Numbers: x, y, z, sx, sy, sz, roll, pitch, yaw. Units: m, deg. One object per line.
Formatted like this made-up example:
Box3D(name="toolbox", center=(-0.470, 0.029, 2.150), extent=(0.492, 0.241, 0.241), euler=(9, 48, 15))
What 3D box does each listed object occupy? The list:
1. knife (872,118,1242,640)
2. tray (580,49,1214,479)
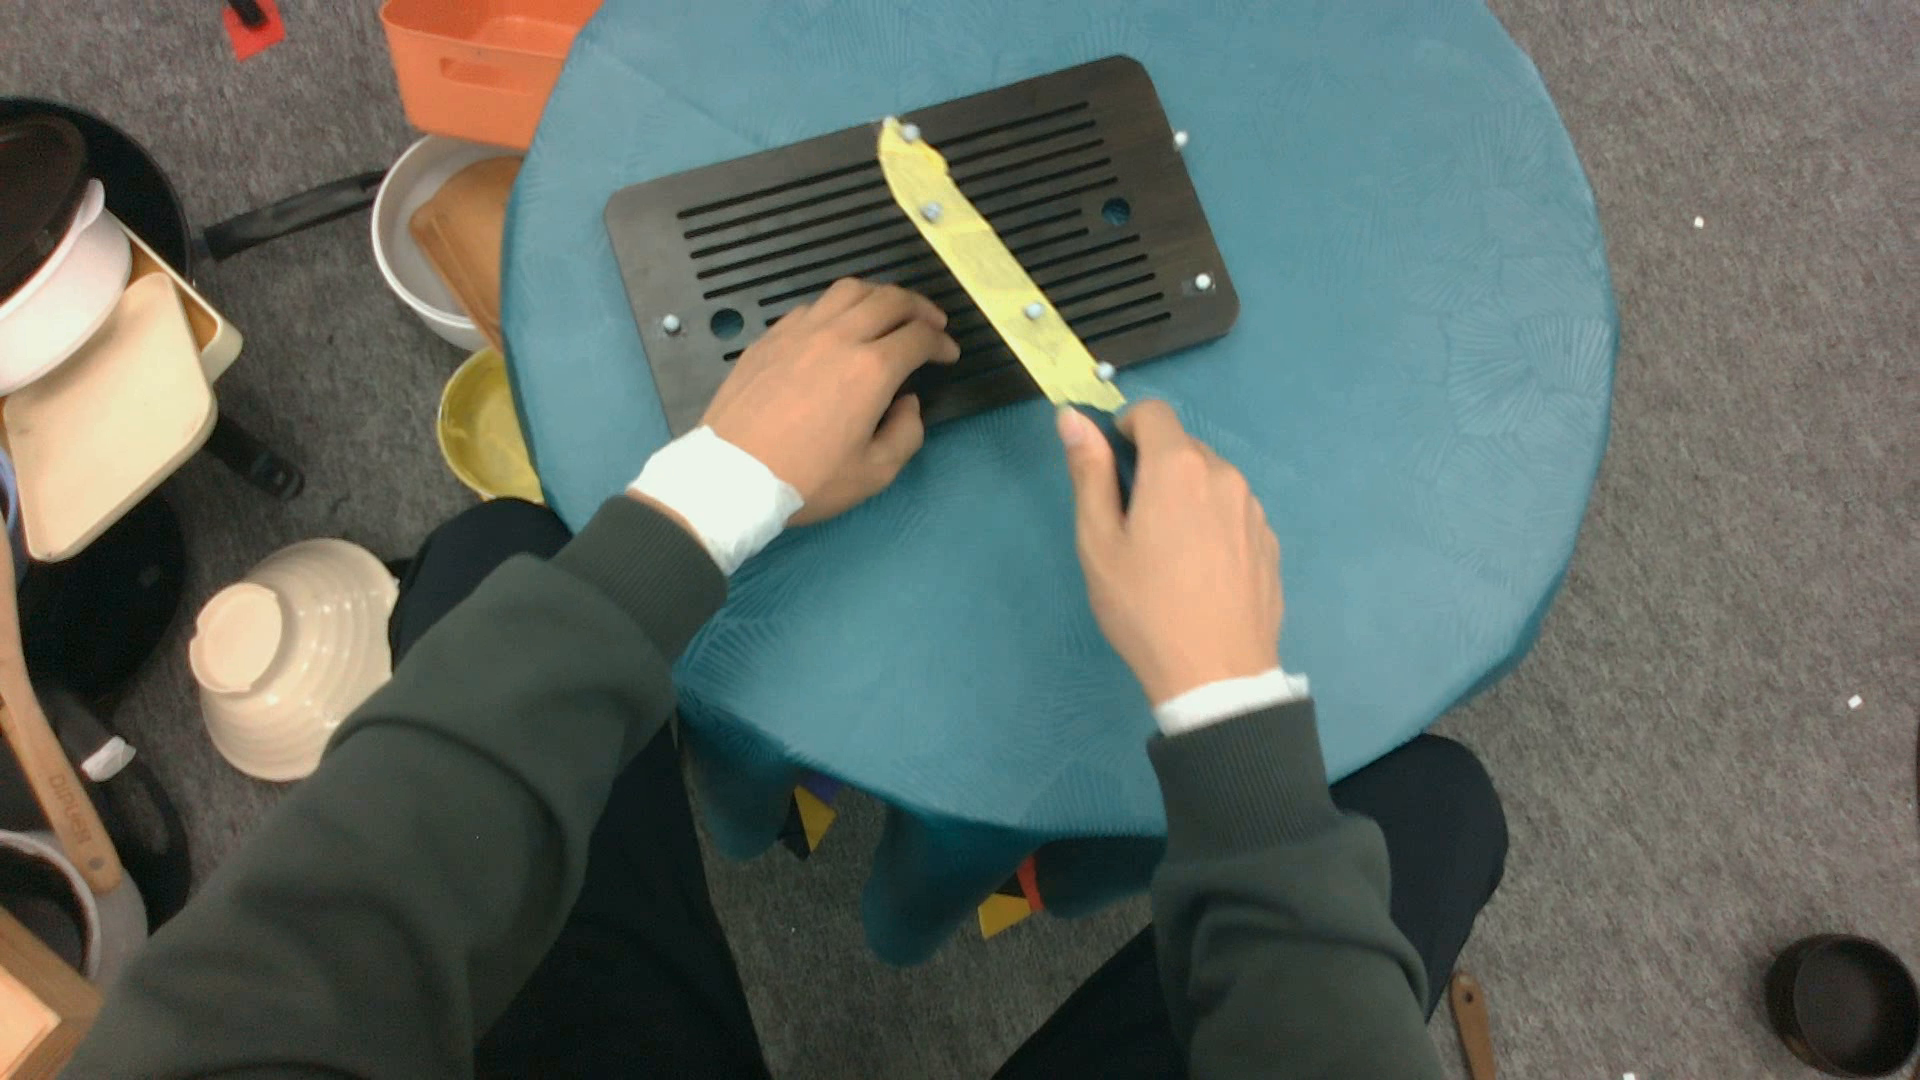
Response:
Box3D(name="knife", center=(0.044, -0.079, 0.636), extent=(0.027, 0.081, 0.289), euler=(-36, 86, 32))
Box3D(name="tray", center=(-0.031, -0.150, 0.730), extent=(0.306, 0.018, 0.170), euler=(-18, 78, -10))
